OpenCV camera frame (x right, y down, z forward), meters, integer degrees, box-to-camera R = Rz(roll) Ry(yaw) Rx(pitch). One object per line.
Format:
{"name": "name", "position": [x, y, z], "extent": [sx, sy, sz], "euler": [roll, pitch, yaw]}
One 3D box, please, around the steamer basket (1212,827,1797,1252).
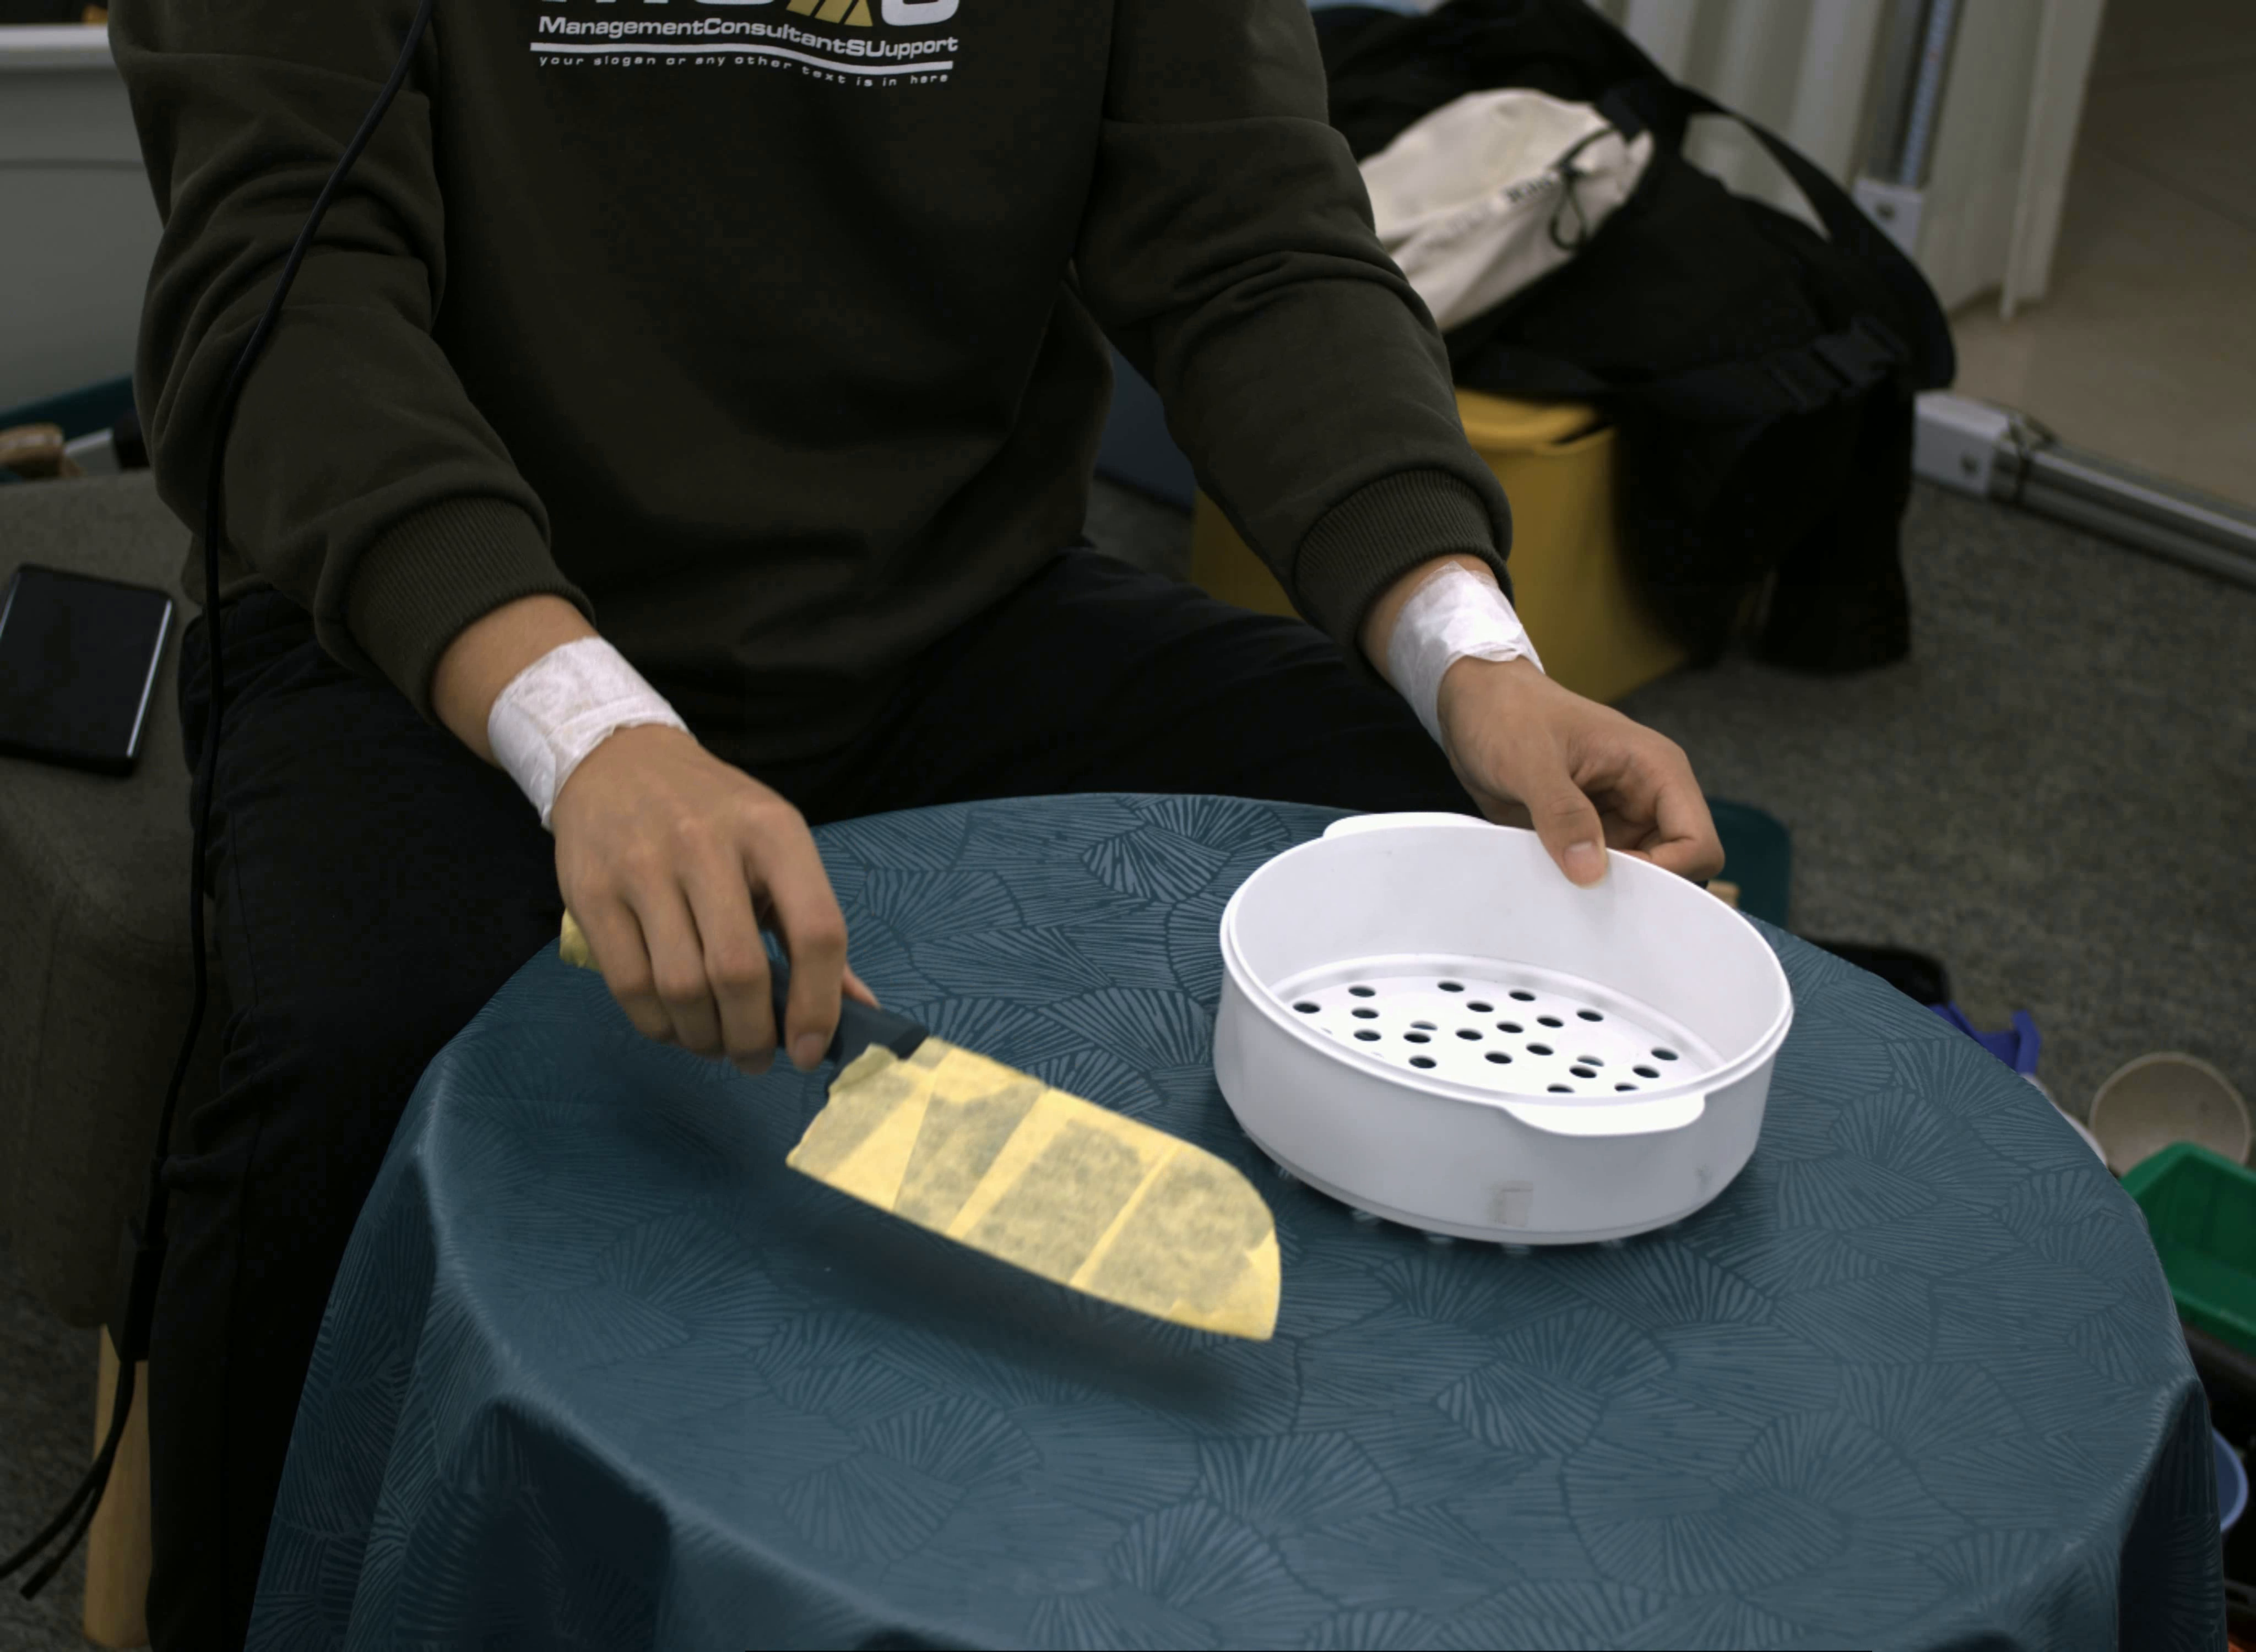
{"name": "steamer basket", "position": [0.129, 0.076, 1.855], "extent": [0.200, 0.069, 0.232], "euler": [-1, 26, -17]}

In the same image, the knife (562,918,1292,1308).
{"name": "knife", "position": [-0.073, 0.093, 1.738], "extent": [0.291, 0.027, 0.081], "euler": [22, 47, 24]}
